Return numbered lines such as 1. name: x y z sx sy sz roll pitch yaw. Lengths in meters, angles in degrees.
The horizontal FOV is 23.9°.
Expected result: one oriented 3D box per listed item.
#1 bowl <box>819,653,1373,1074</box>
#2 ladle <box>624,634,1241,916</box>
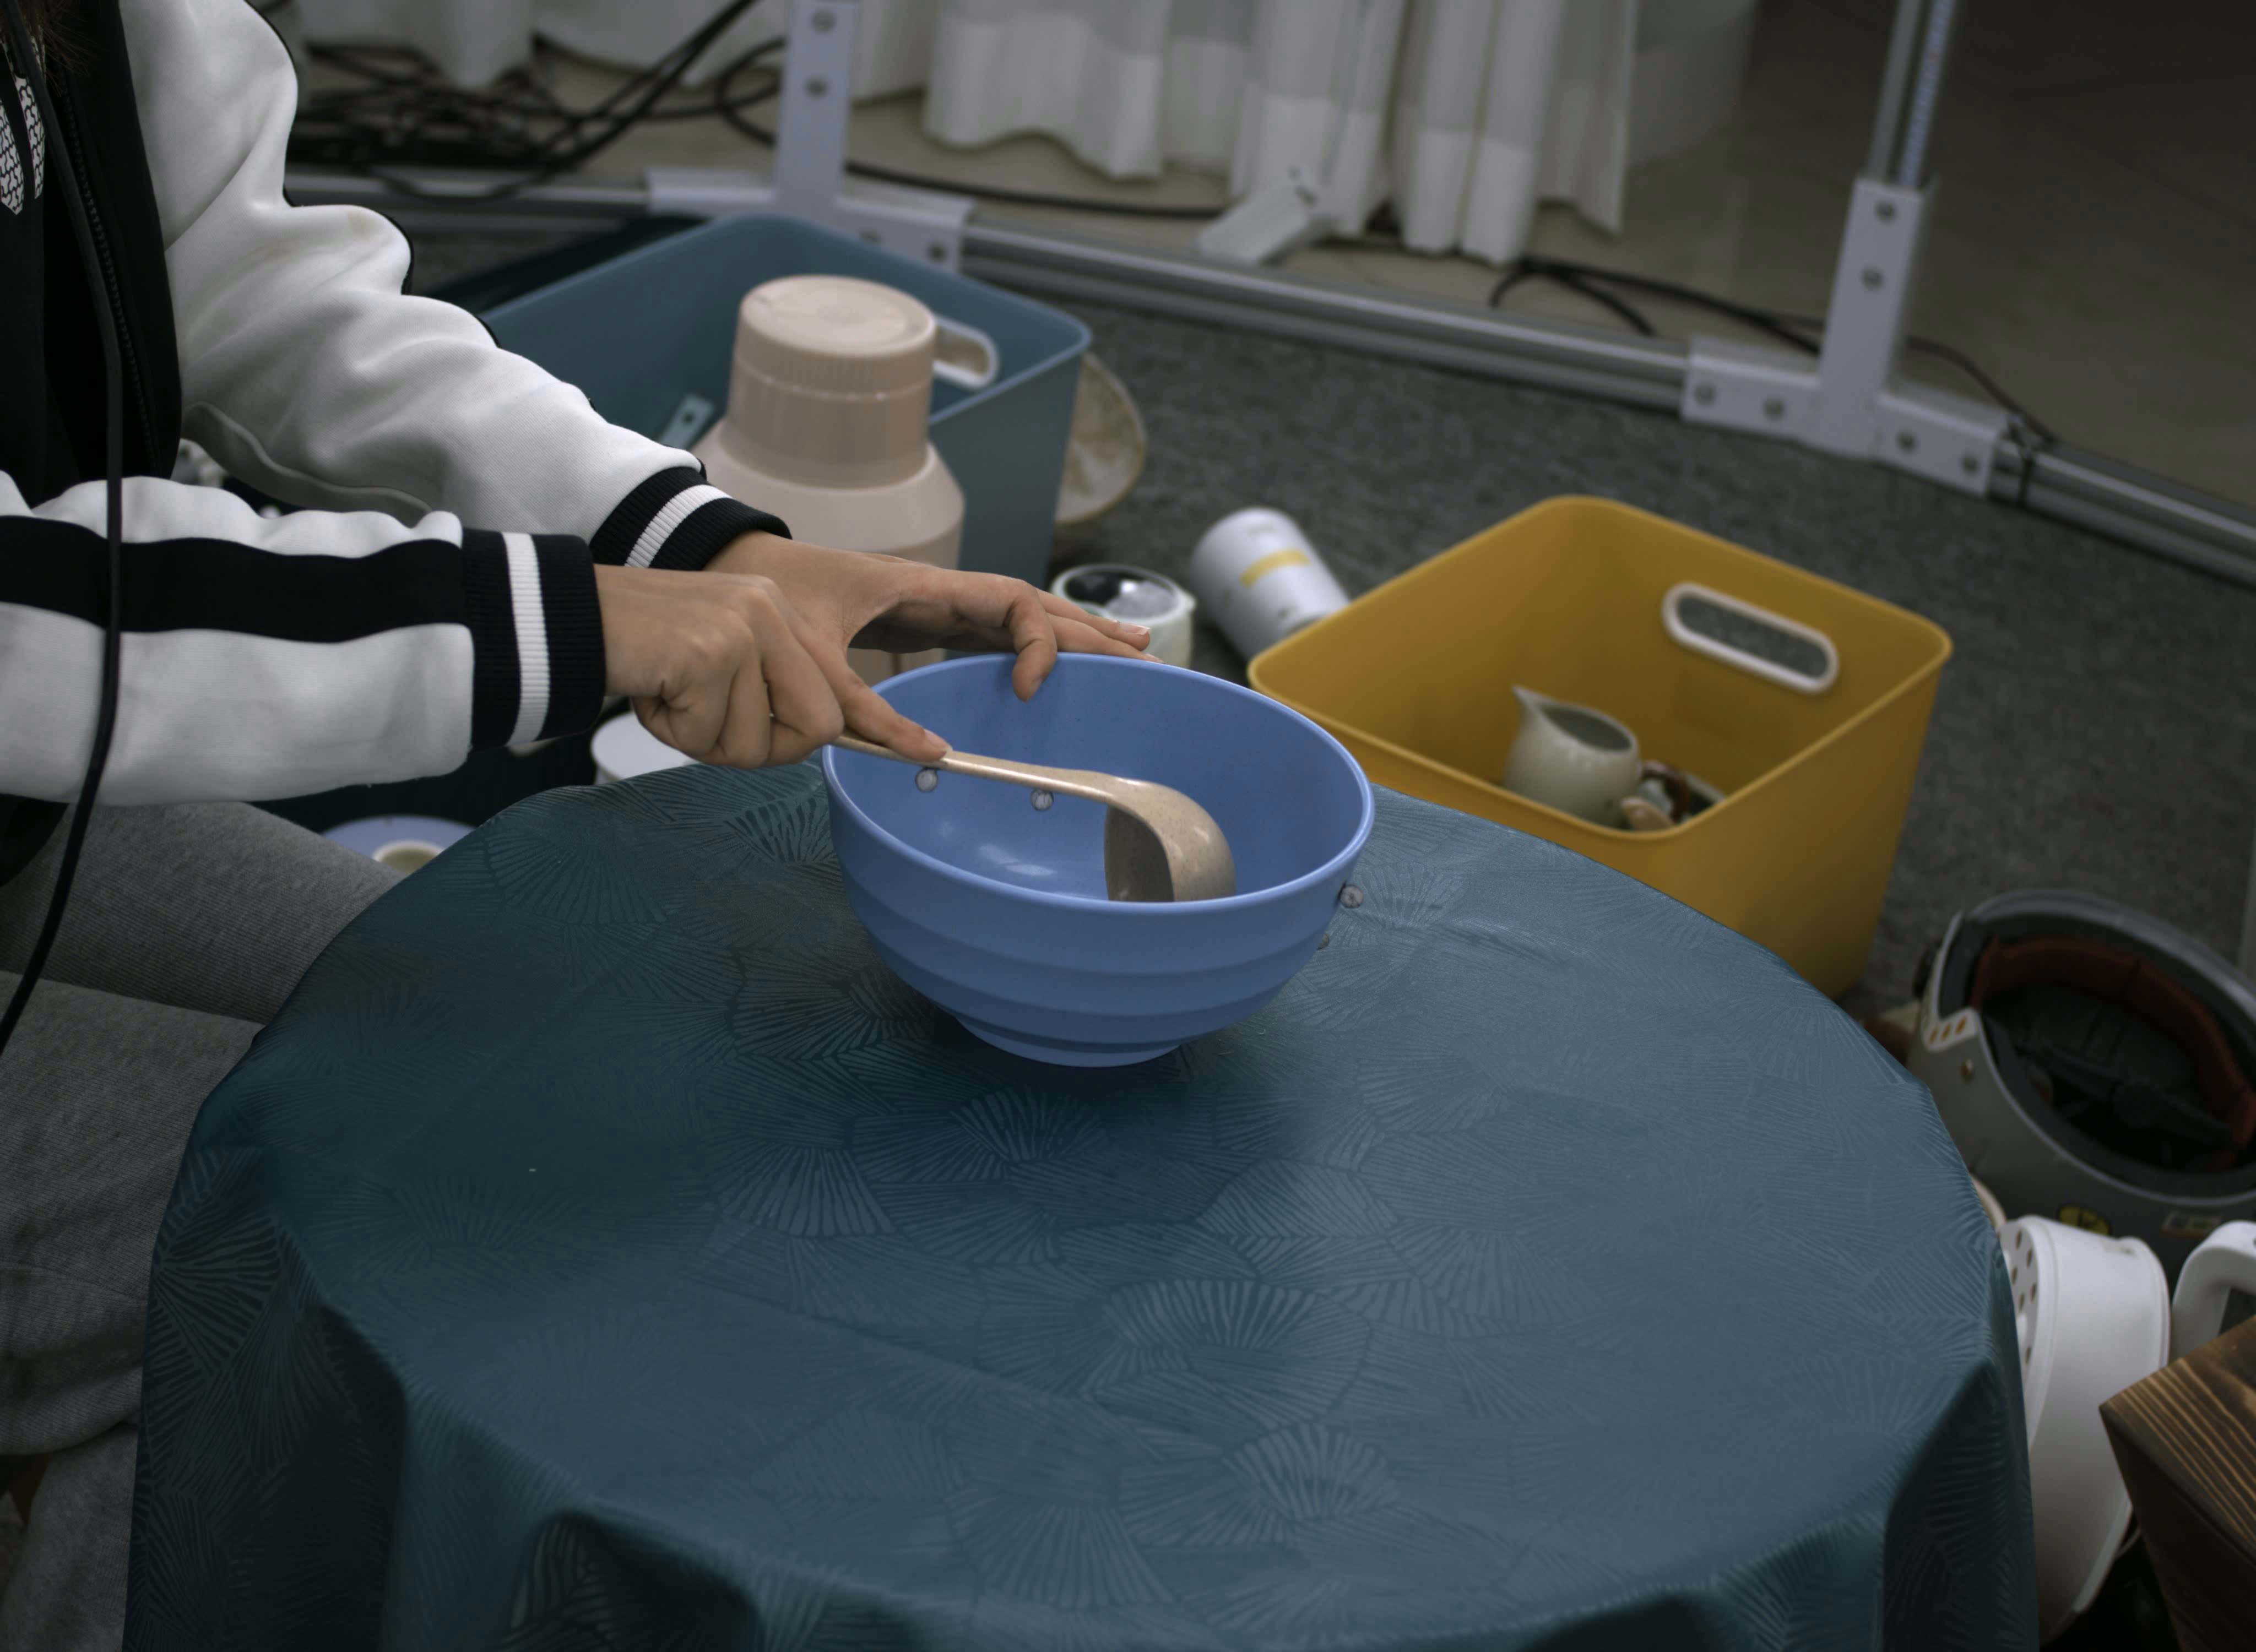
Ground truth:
1. bowl: -0.015 0.025 1.895 0.196 0.095 0.198 4 28 -3
2. ladle: -0.076 -0.002 1.848 0.252 0.073 0.073 16 25 -27
